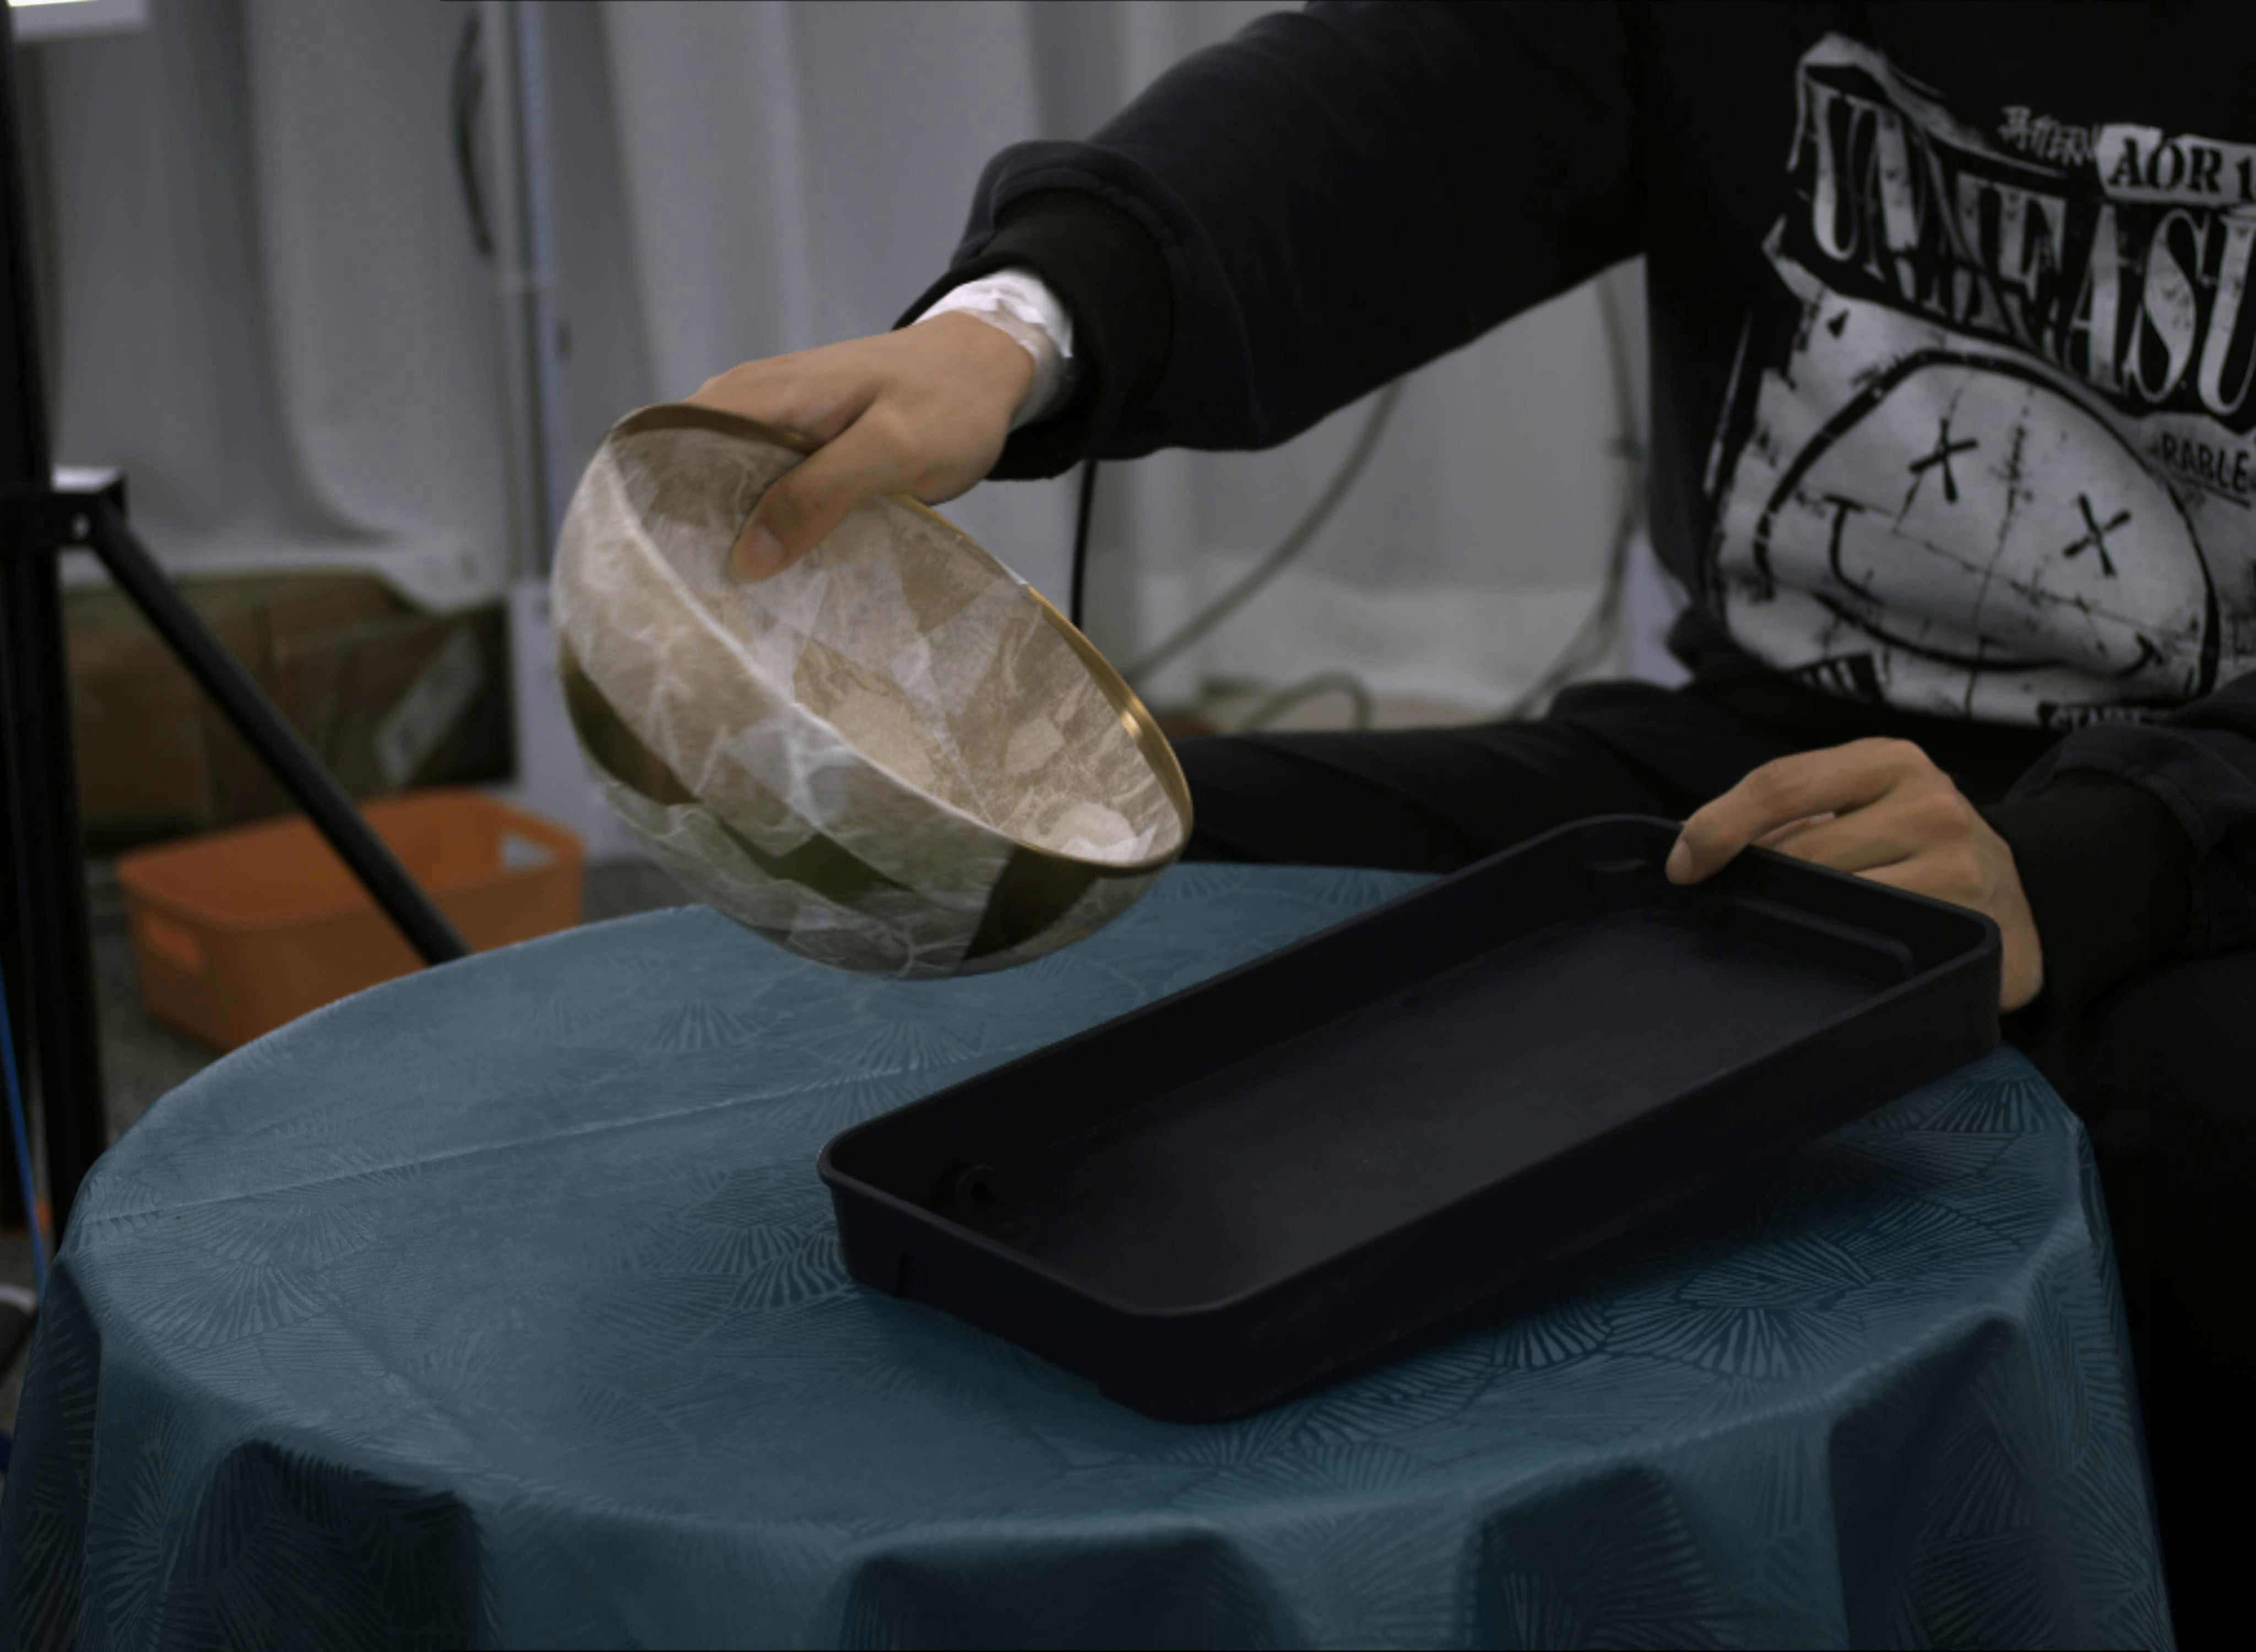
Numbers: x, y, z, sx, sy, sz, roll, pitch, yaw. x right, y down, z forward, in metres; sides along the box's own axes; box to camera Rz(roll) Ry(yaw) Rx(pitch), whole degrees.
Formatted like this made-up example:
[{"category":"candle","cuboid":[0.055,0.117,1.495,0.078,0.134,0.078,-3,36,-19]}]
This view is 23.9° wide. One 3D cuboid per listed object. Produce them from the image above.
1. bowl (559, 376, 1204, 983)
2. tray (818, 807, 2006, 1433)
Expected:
[{"category":"bowl","cuboid":[-0.082,-0.023,1.511,0.212,0.095,0.216,33,20,-15]},{"category":"tray","cuboid":[0.085,0.077,1.516,0.312,0.037,0.188,-22,24,-29]}]
